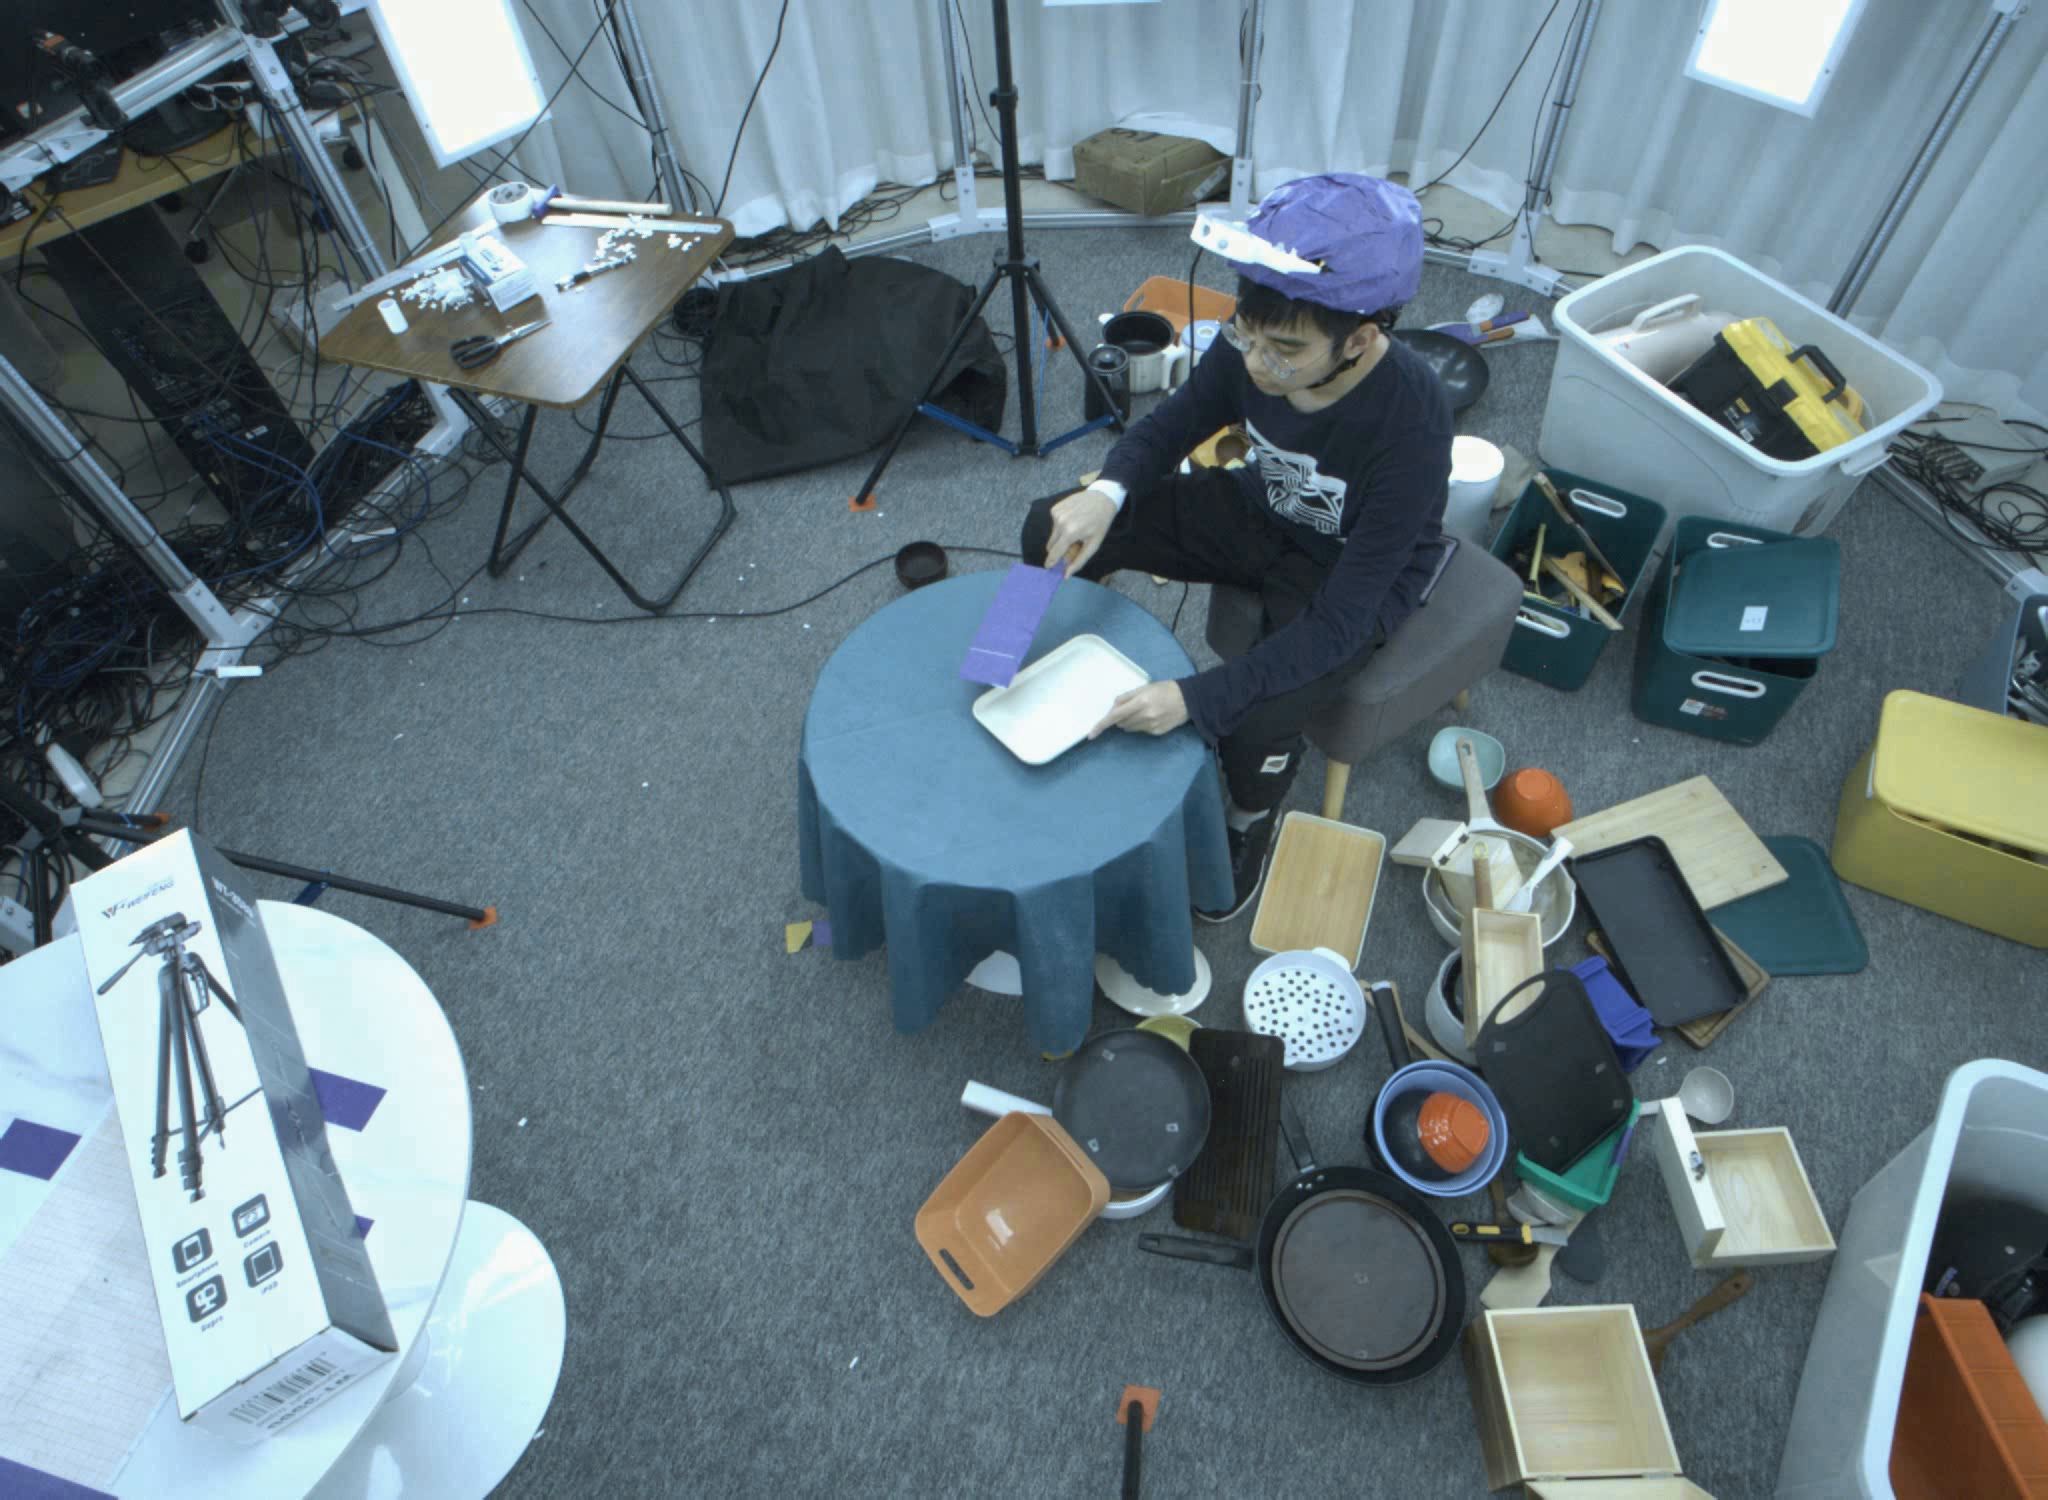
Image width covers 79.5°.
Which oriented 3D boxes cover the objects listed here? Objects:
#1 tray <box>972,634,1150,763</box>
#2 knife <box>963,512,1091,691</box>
[{"bbox_3d":[0.056,-0.077,1.827,0.241,0.018,0.167,-33,52,-20],"label":"tray"},{"bbox_3d":[0.001,-0.232,1.839,0.102,0.033,0.315,17,69,22],"label":"knife"}]
